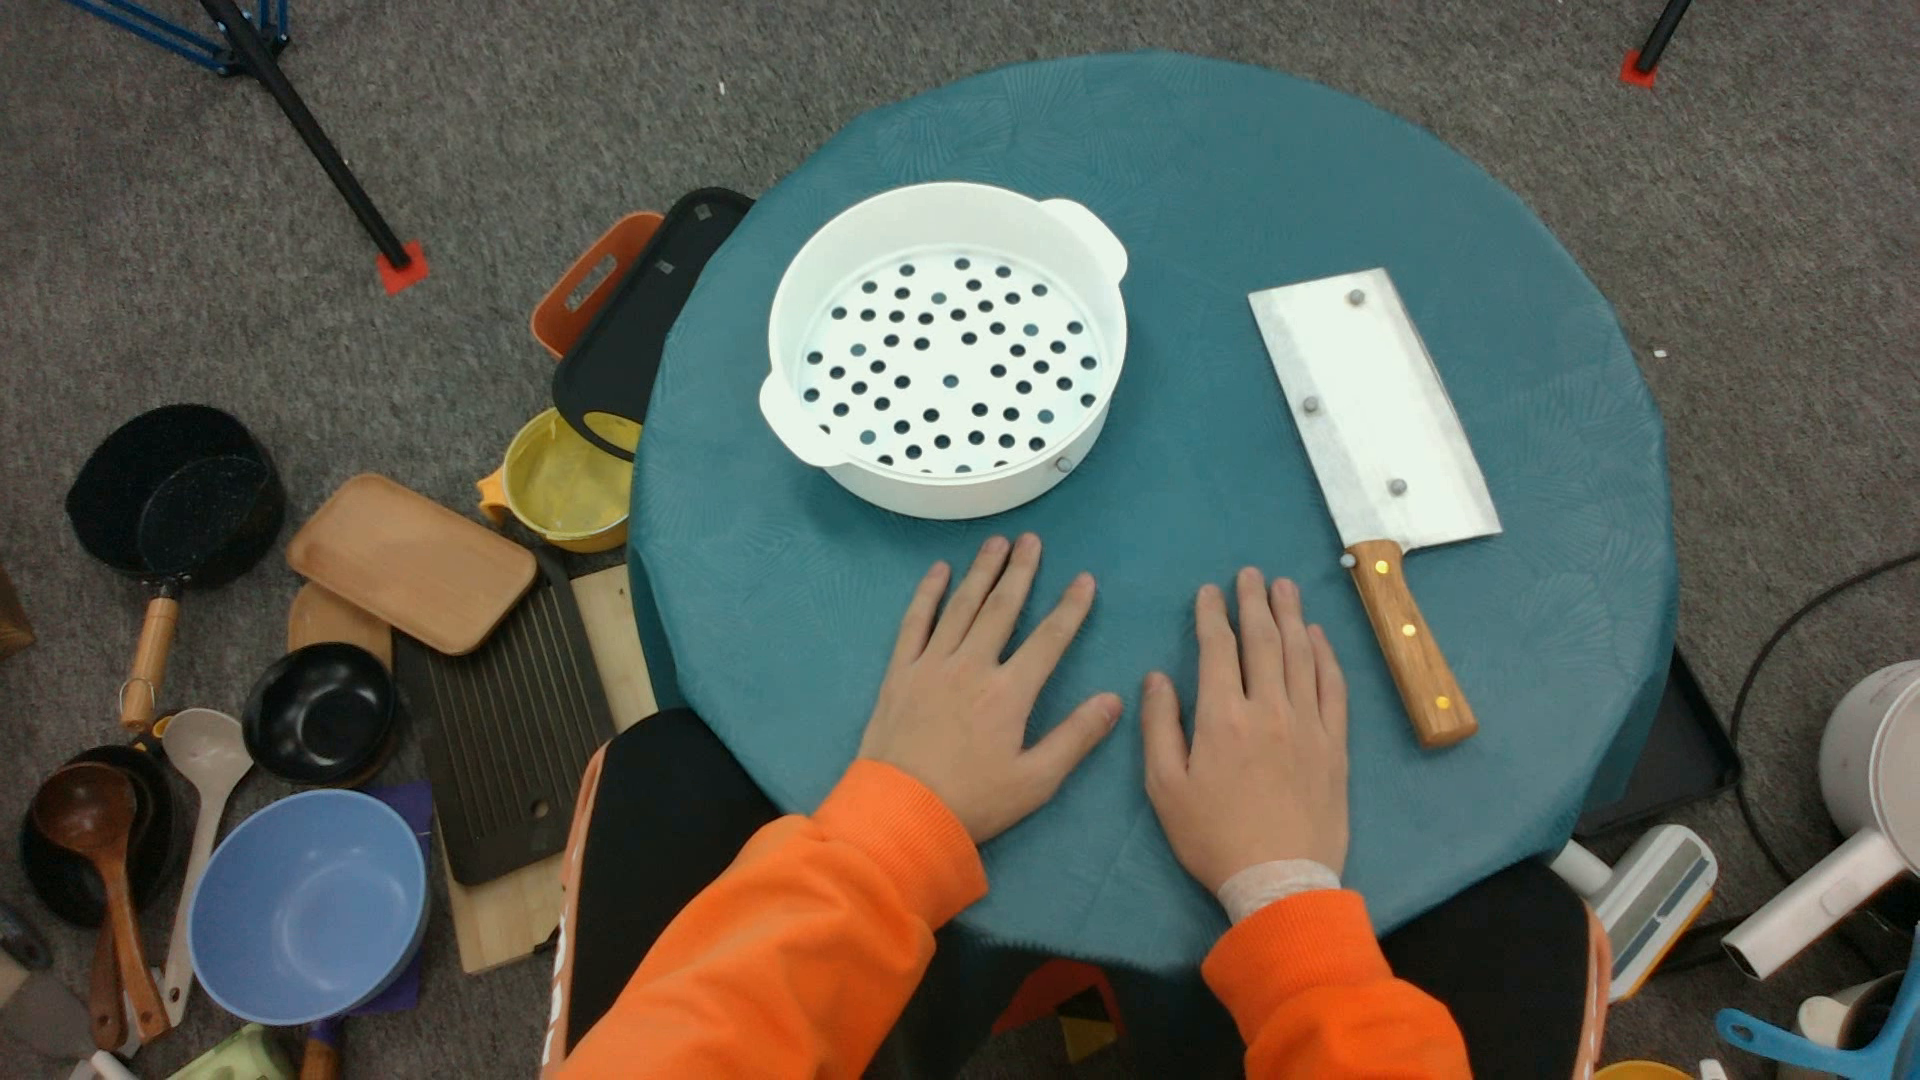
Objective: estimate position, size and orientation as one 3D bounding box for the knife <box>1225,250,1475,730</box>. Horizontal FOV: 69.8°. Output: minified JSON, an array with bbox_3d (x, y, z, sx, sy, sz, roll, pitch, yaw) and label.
[{"bbox_3d":[0.239,-0.042,0.787,0.093,0.021,0.306,-11,64,-6],"label":"knife"}]

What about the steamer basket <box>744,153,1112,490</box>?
[{"bbox_3d":[-0.015,-0.125,0.796,0.231,0.069,0.202,-35,71,-16],"label":"steamer basket"}]
